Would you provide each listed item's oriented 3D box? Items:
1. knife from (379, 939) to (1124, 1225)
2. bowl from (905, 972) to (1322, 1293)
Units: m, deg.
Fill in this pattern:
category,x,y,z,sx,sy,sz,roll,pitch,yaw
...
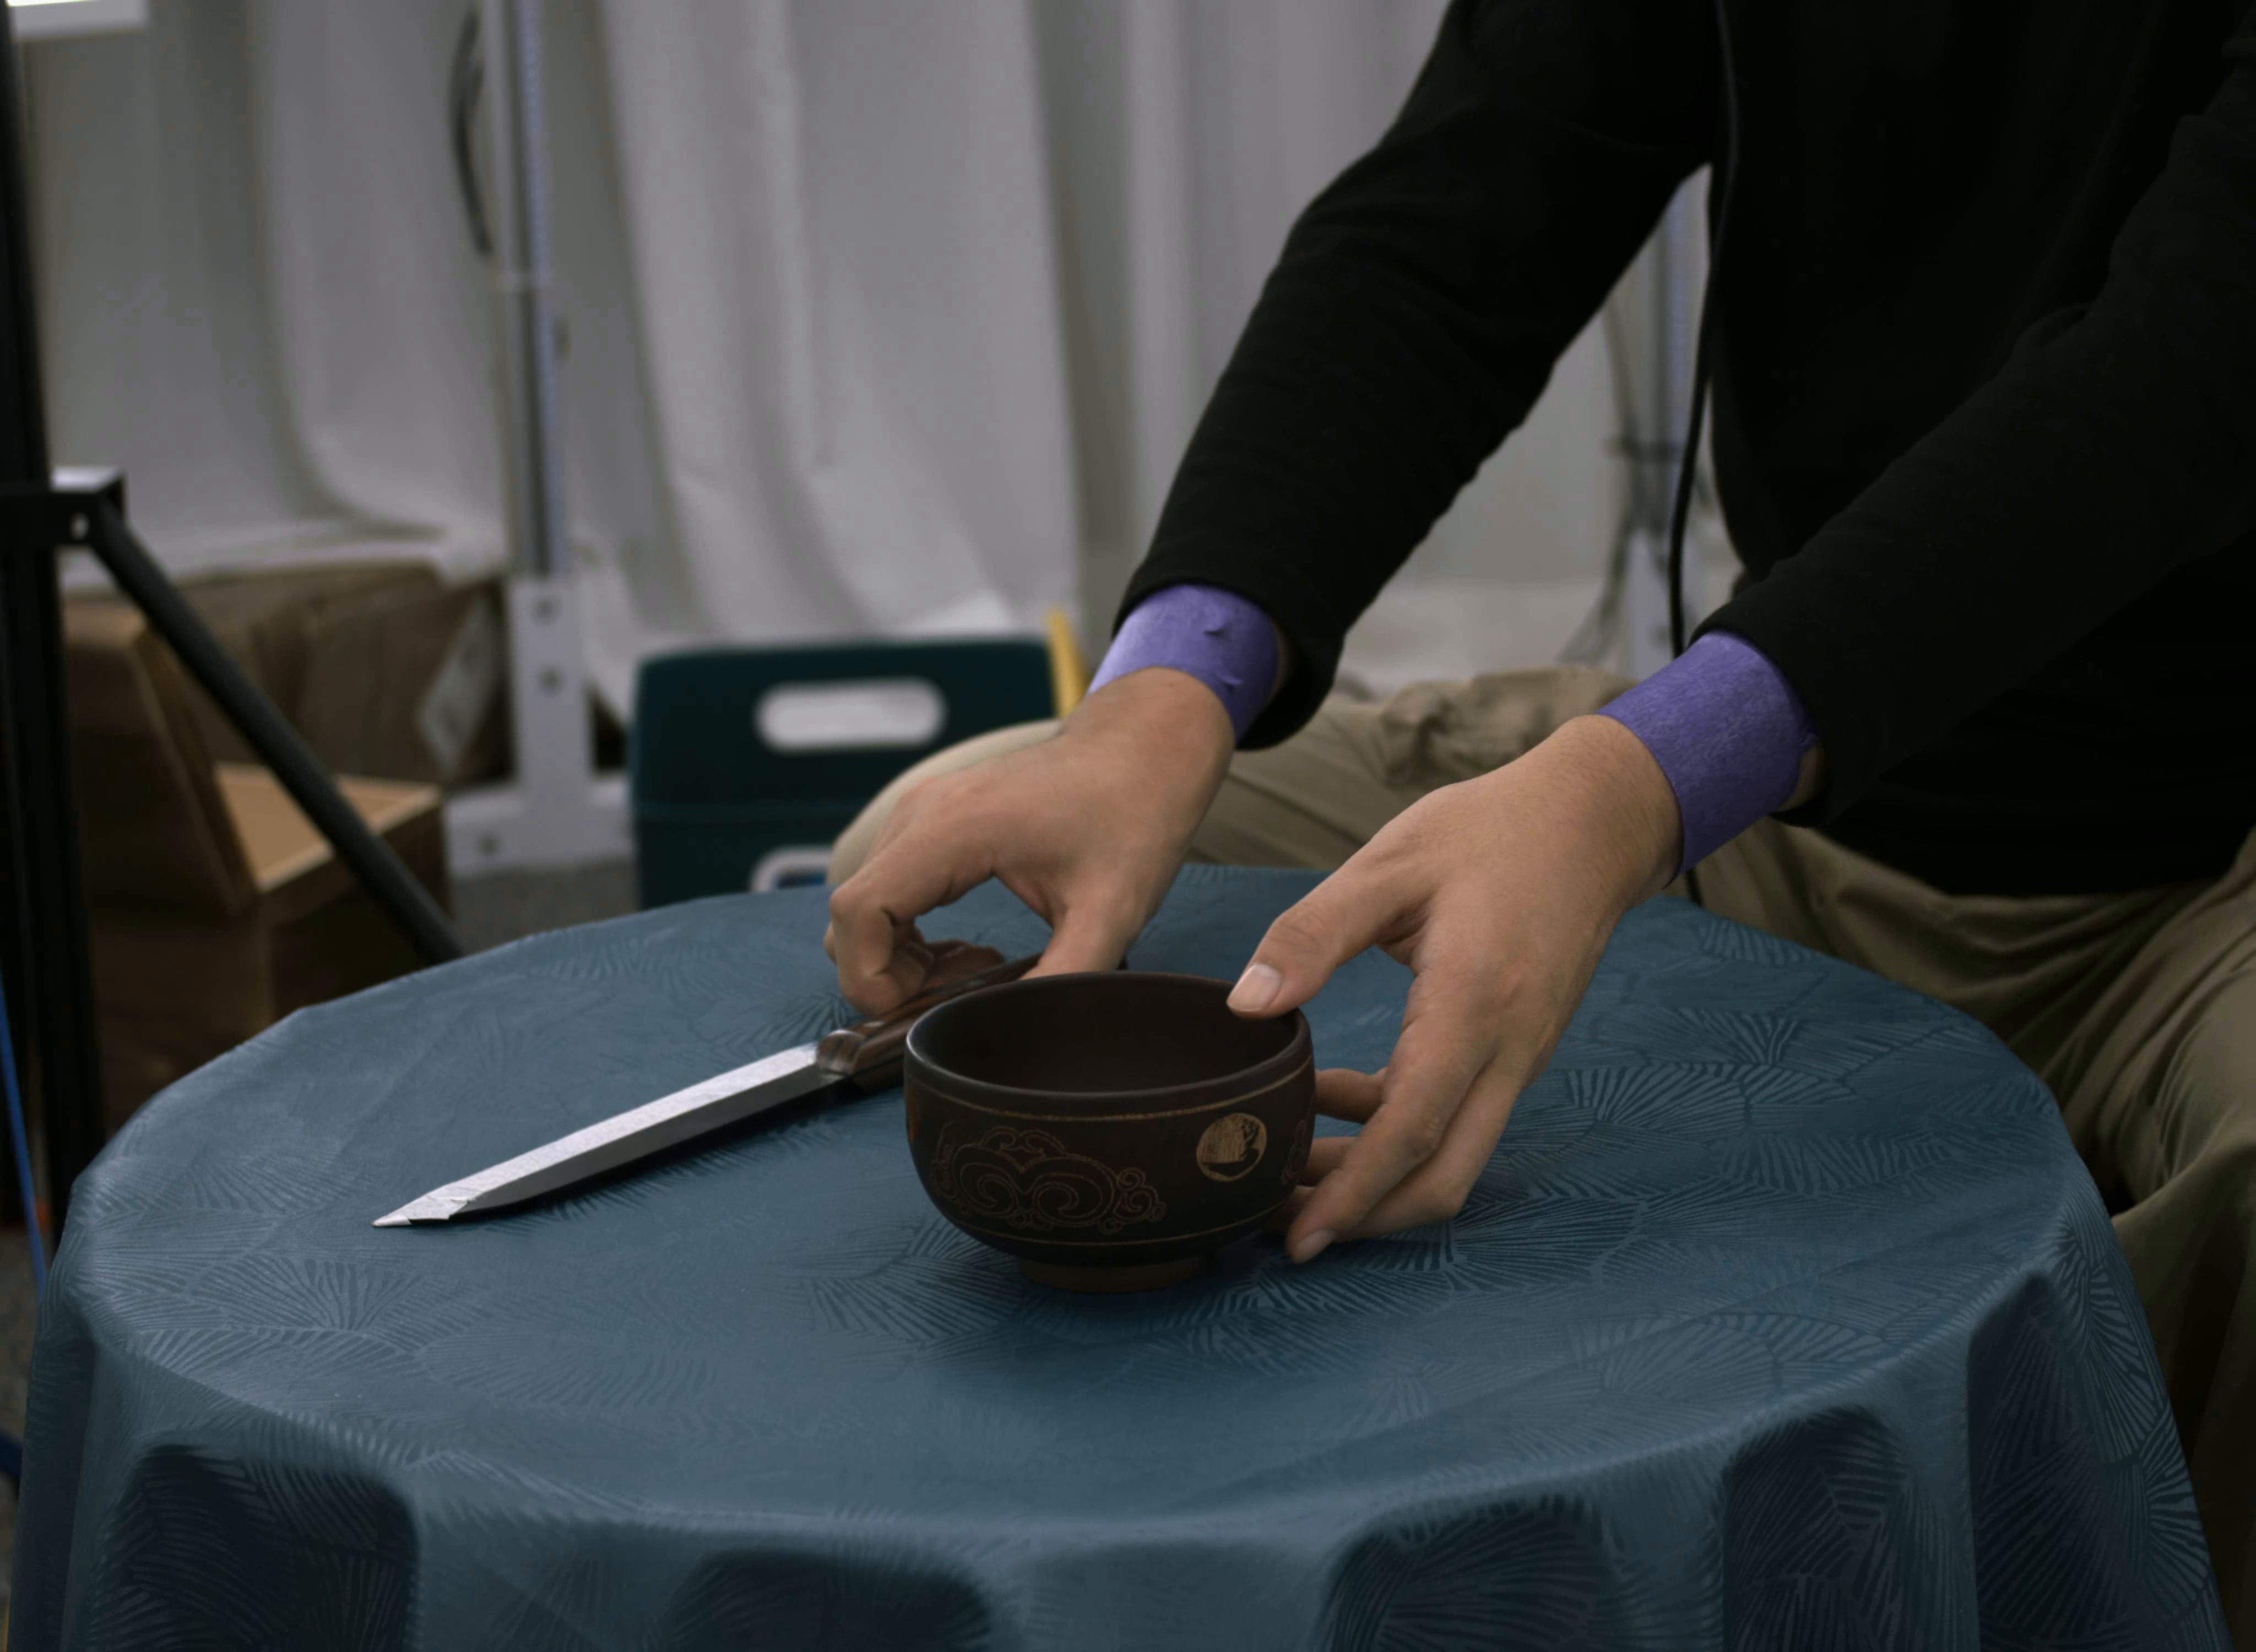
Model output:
category,x,y,z,sx,sy,sz,roll,pitch,yaw
knife,-0.111,0.081,1.643,0.283,0.020,0.051,-19,15,-38
bowl,-0.003,0.090,1.493,0.117,0.070,0.118,-2,14,-1
